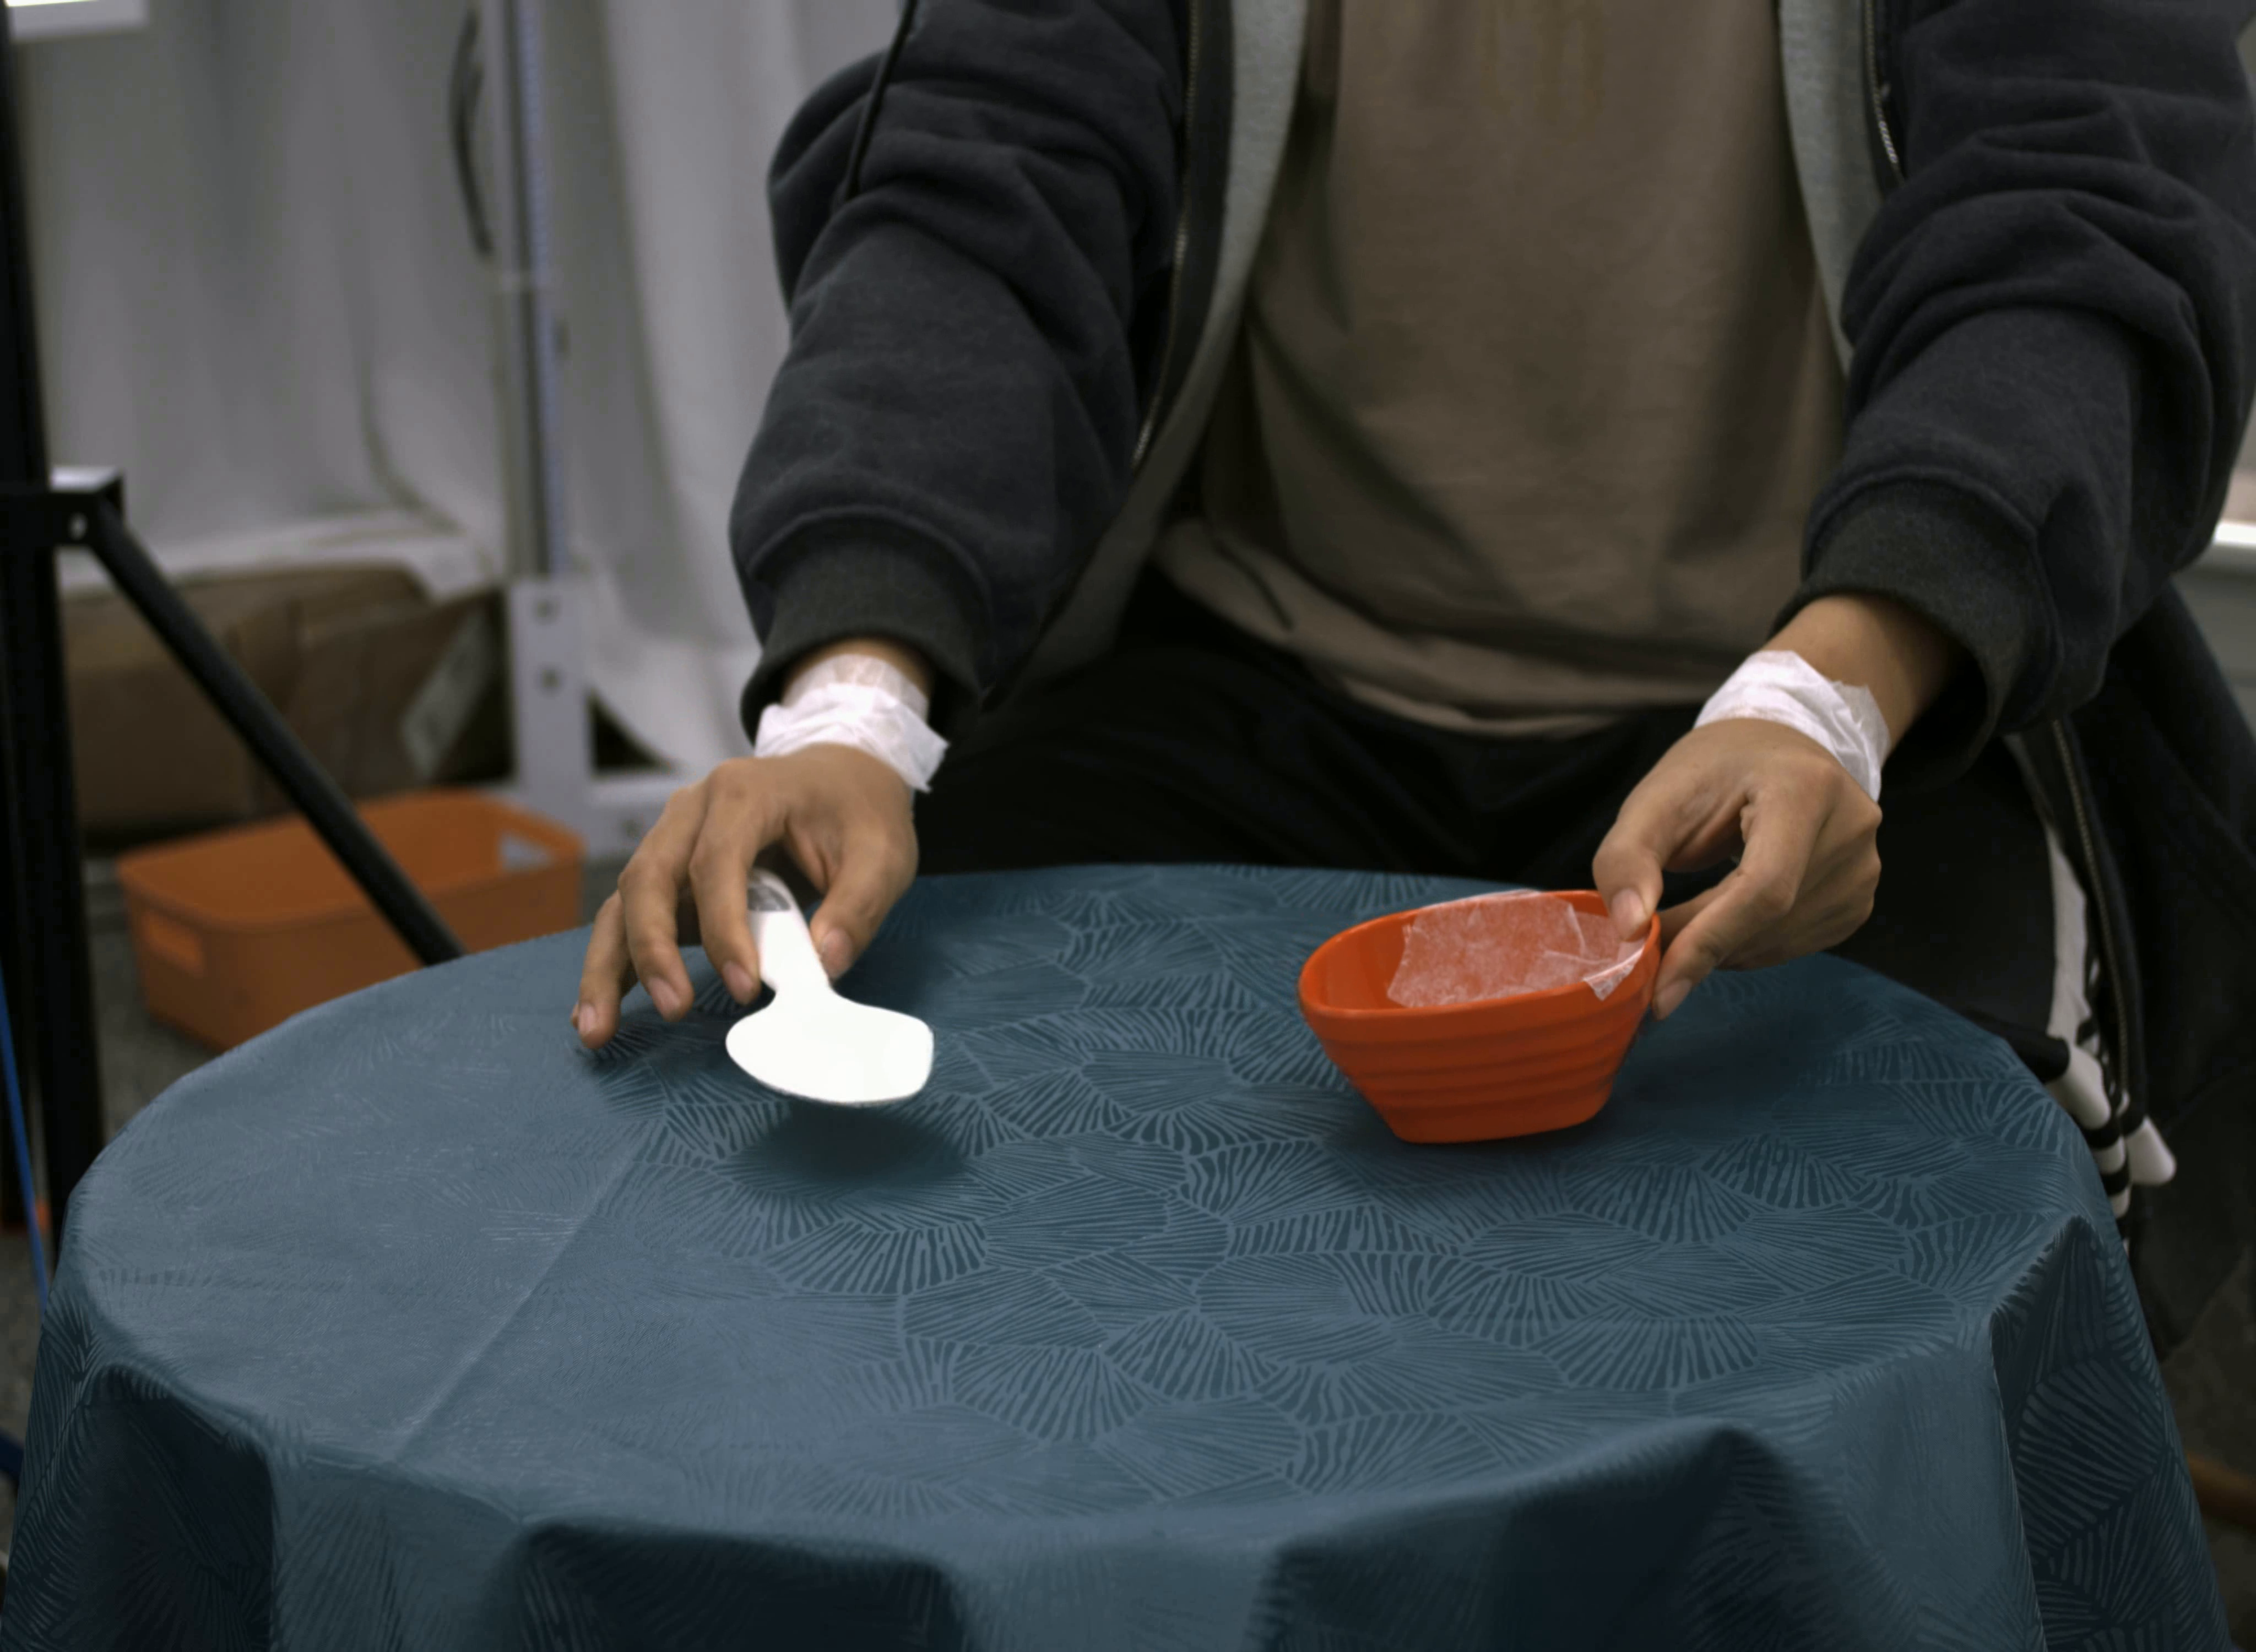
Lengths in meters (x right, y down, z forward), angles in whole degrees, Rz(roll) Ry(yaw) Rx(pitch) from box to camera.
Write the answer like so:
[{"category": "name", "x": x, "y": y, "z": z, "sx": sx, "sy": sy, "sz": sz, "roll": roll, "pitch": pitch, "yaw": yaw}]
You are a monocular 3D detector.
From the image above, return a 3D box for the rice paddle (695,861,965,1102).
[{"category": "rice paddle", "x": -0.100, "y": 0.051, "z": 1.667, "sx": 0.068, "sy": 0.029, "sz": 0.208, "roll": -5, "pitch": 16, "yaw": -14}]

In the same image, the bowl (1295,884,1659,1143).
[{"category": "bowl", "x": 0.109, "y": 0.060, "z": 1.601, "sx": 0.118, "sy": 0.051, "sz": 0.119, "roll": -10, "pitch": 15, "yaw": 1}]
